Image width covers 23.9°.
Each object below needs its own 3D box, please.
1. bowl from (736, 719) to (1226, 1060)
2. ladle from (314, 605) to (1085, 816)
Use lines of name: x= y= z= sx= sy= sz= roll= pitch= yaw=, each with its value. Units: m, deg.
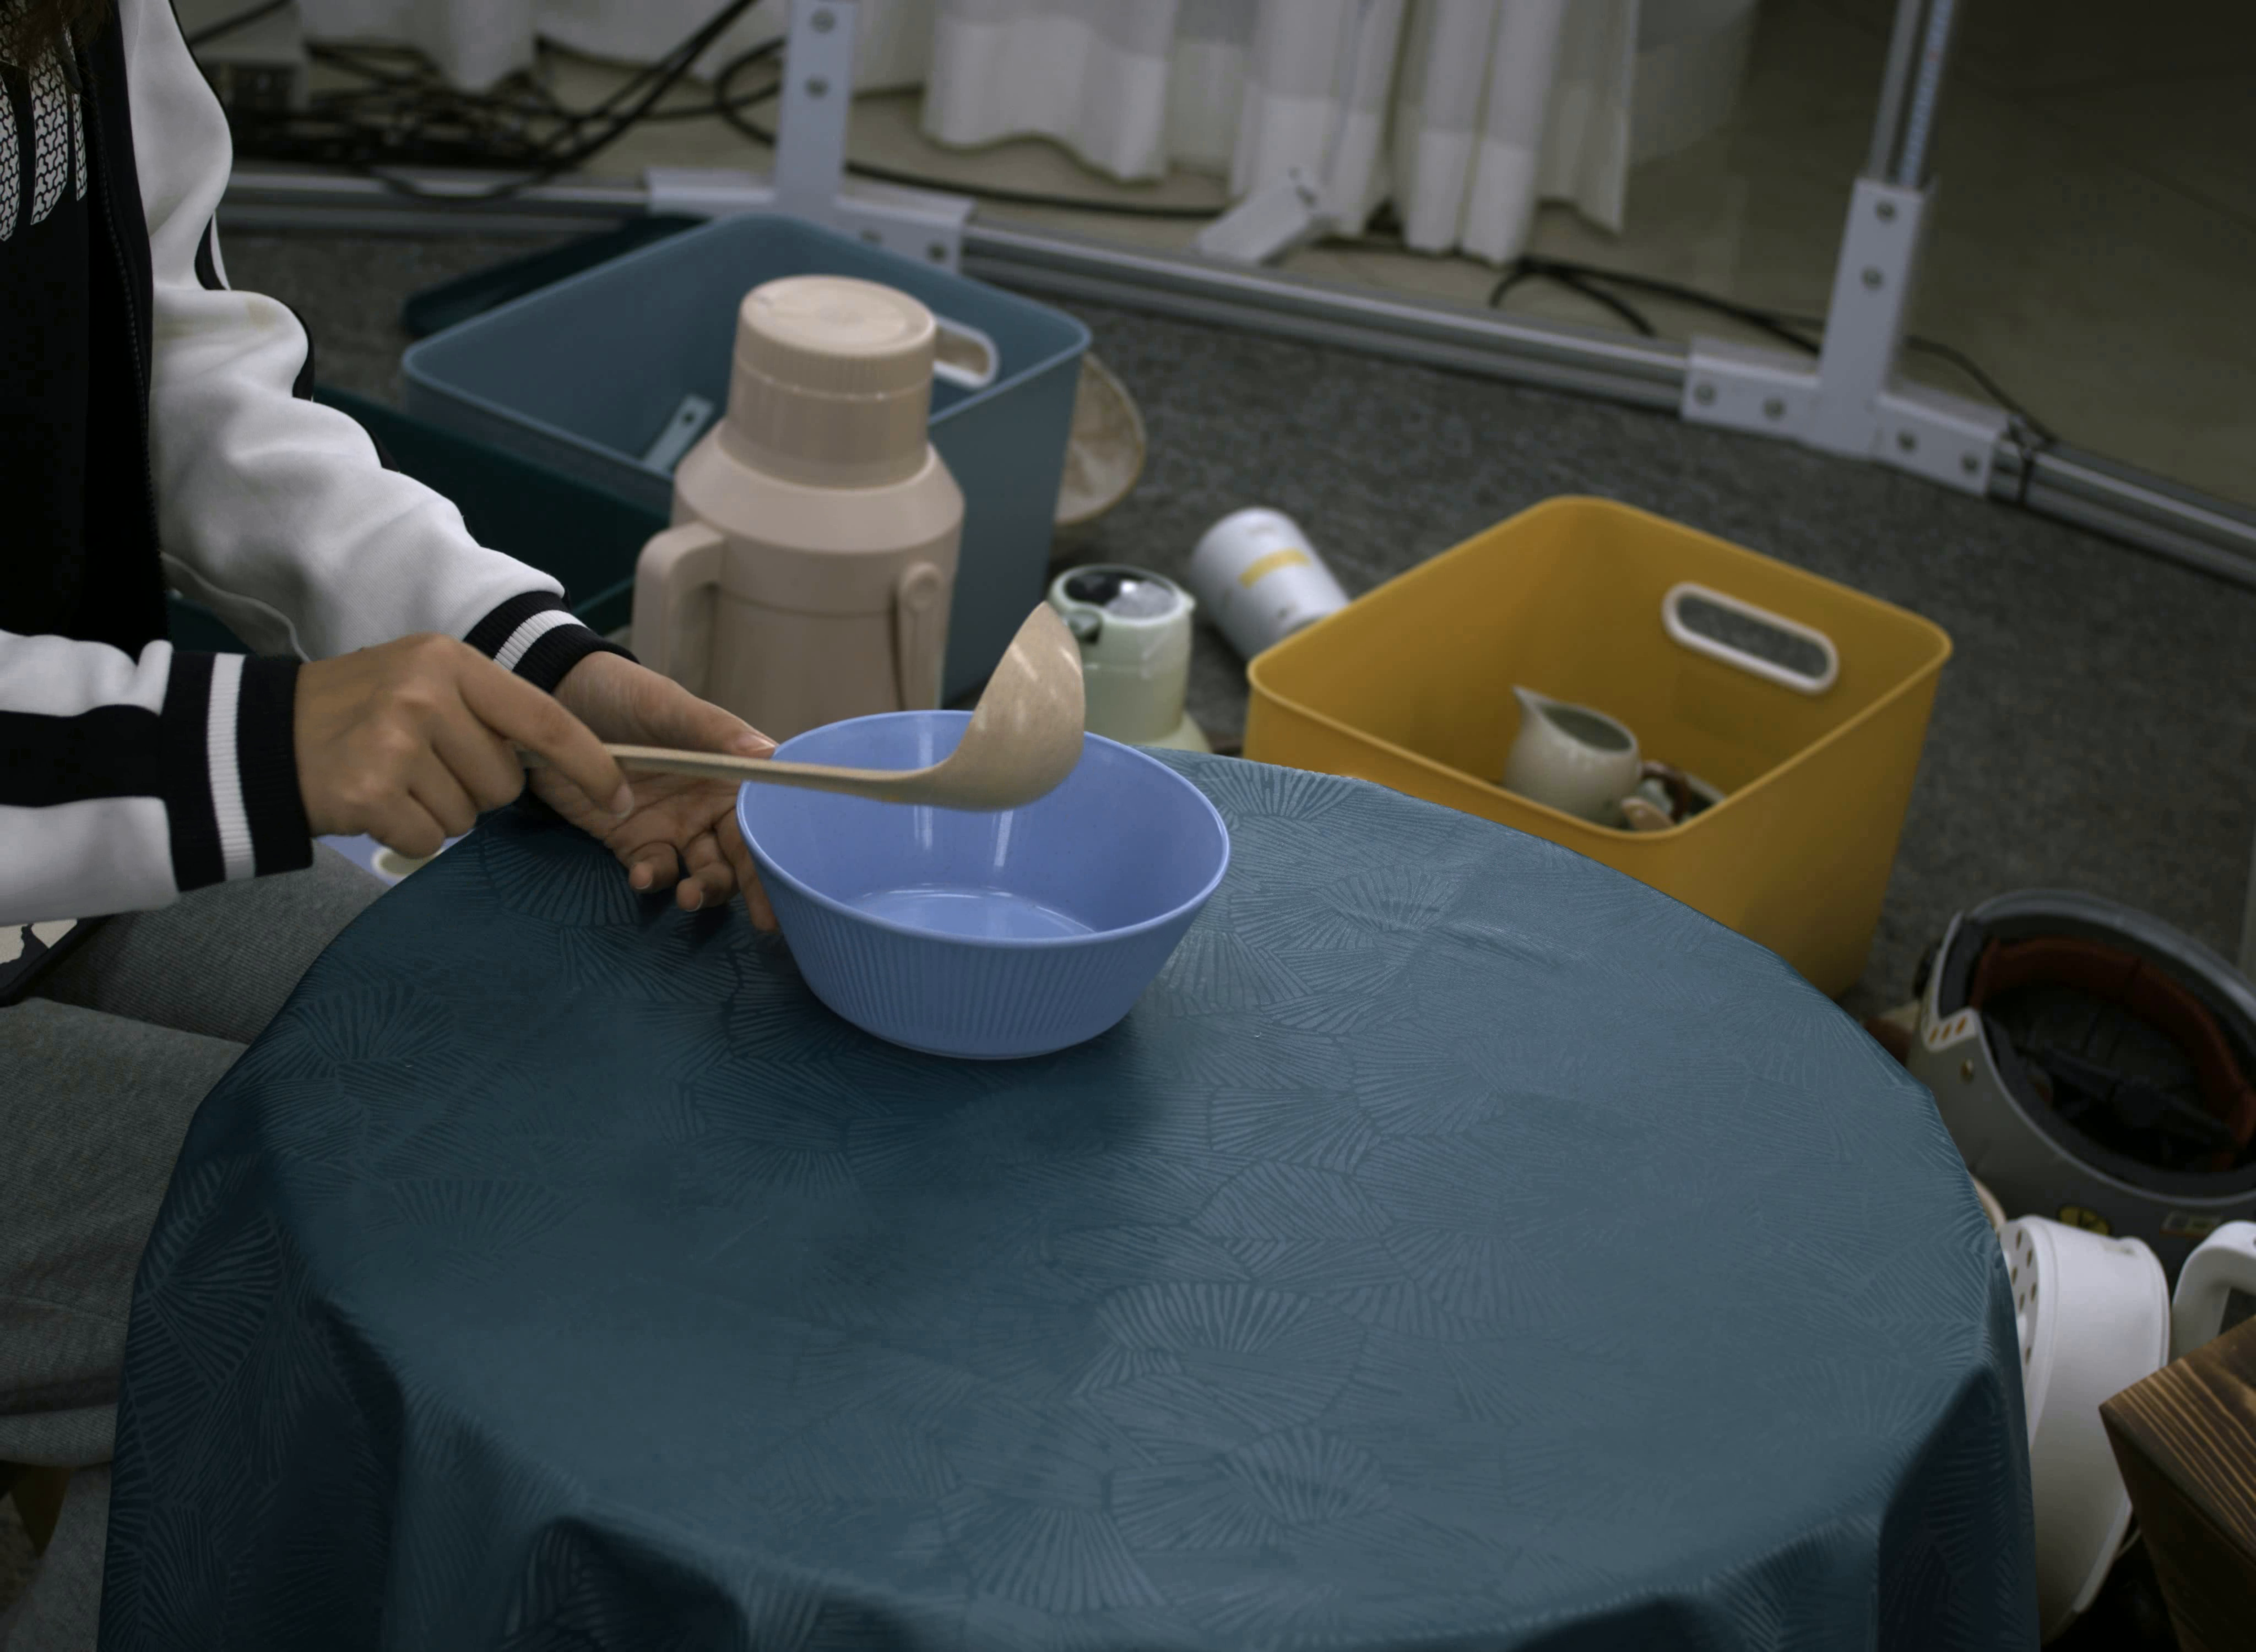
bowl: x=-0.055 y=0.028 z=1.901 sx=0.175 sy=0.070 sz=0.177 roll=6 pitch=26 yaw=-3
ladle: x=-0.141 y=-0.045 z=1.775 sx=0.253 sy=0.072 sz=0.073 roll=4 pitch=66 yaw=-5
